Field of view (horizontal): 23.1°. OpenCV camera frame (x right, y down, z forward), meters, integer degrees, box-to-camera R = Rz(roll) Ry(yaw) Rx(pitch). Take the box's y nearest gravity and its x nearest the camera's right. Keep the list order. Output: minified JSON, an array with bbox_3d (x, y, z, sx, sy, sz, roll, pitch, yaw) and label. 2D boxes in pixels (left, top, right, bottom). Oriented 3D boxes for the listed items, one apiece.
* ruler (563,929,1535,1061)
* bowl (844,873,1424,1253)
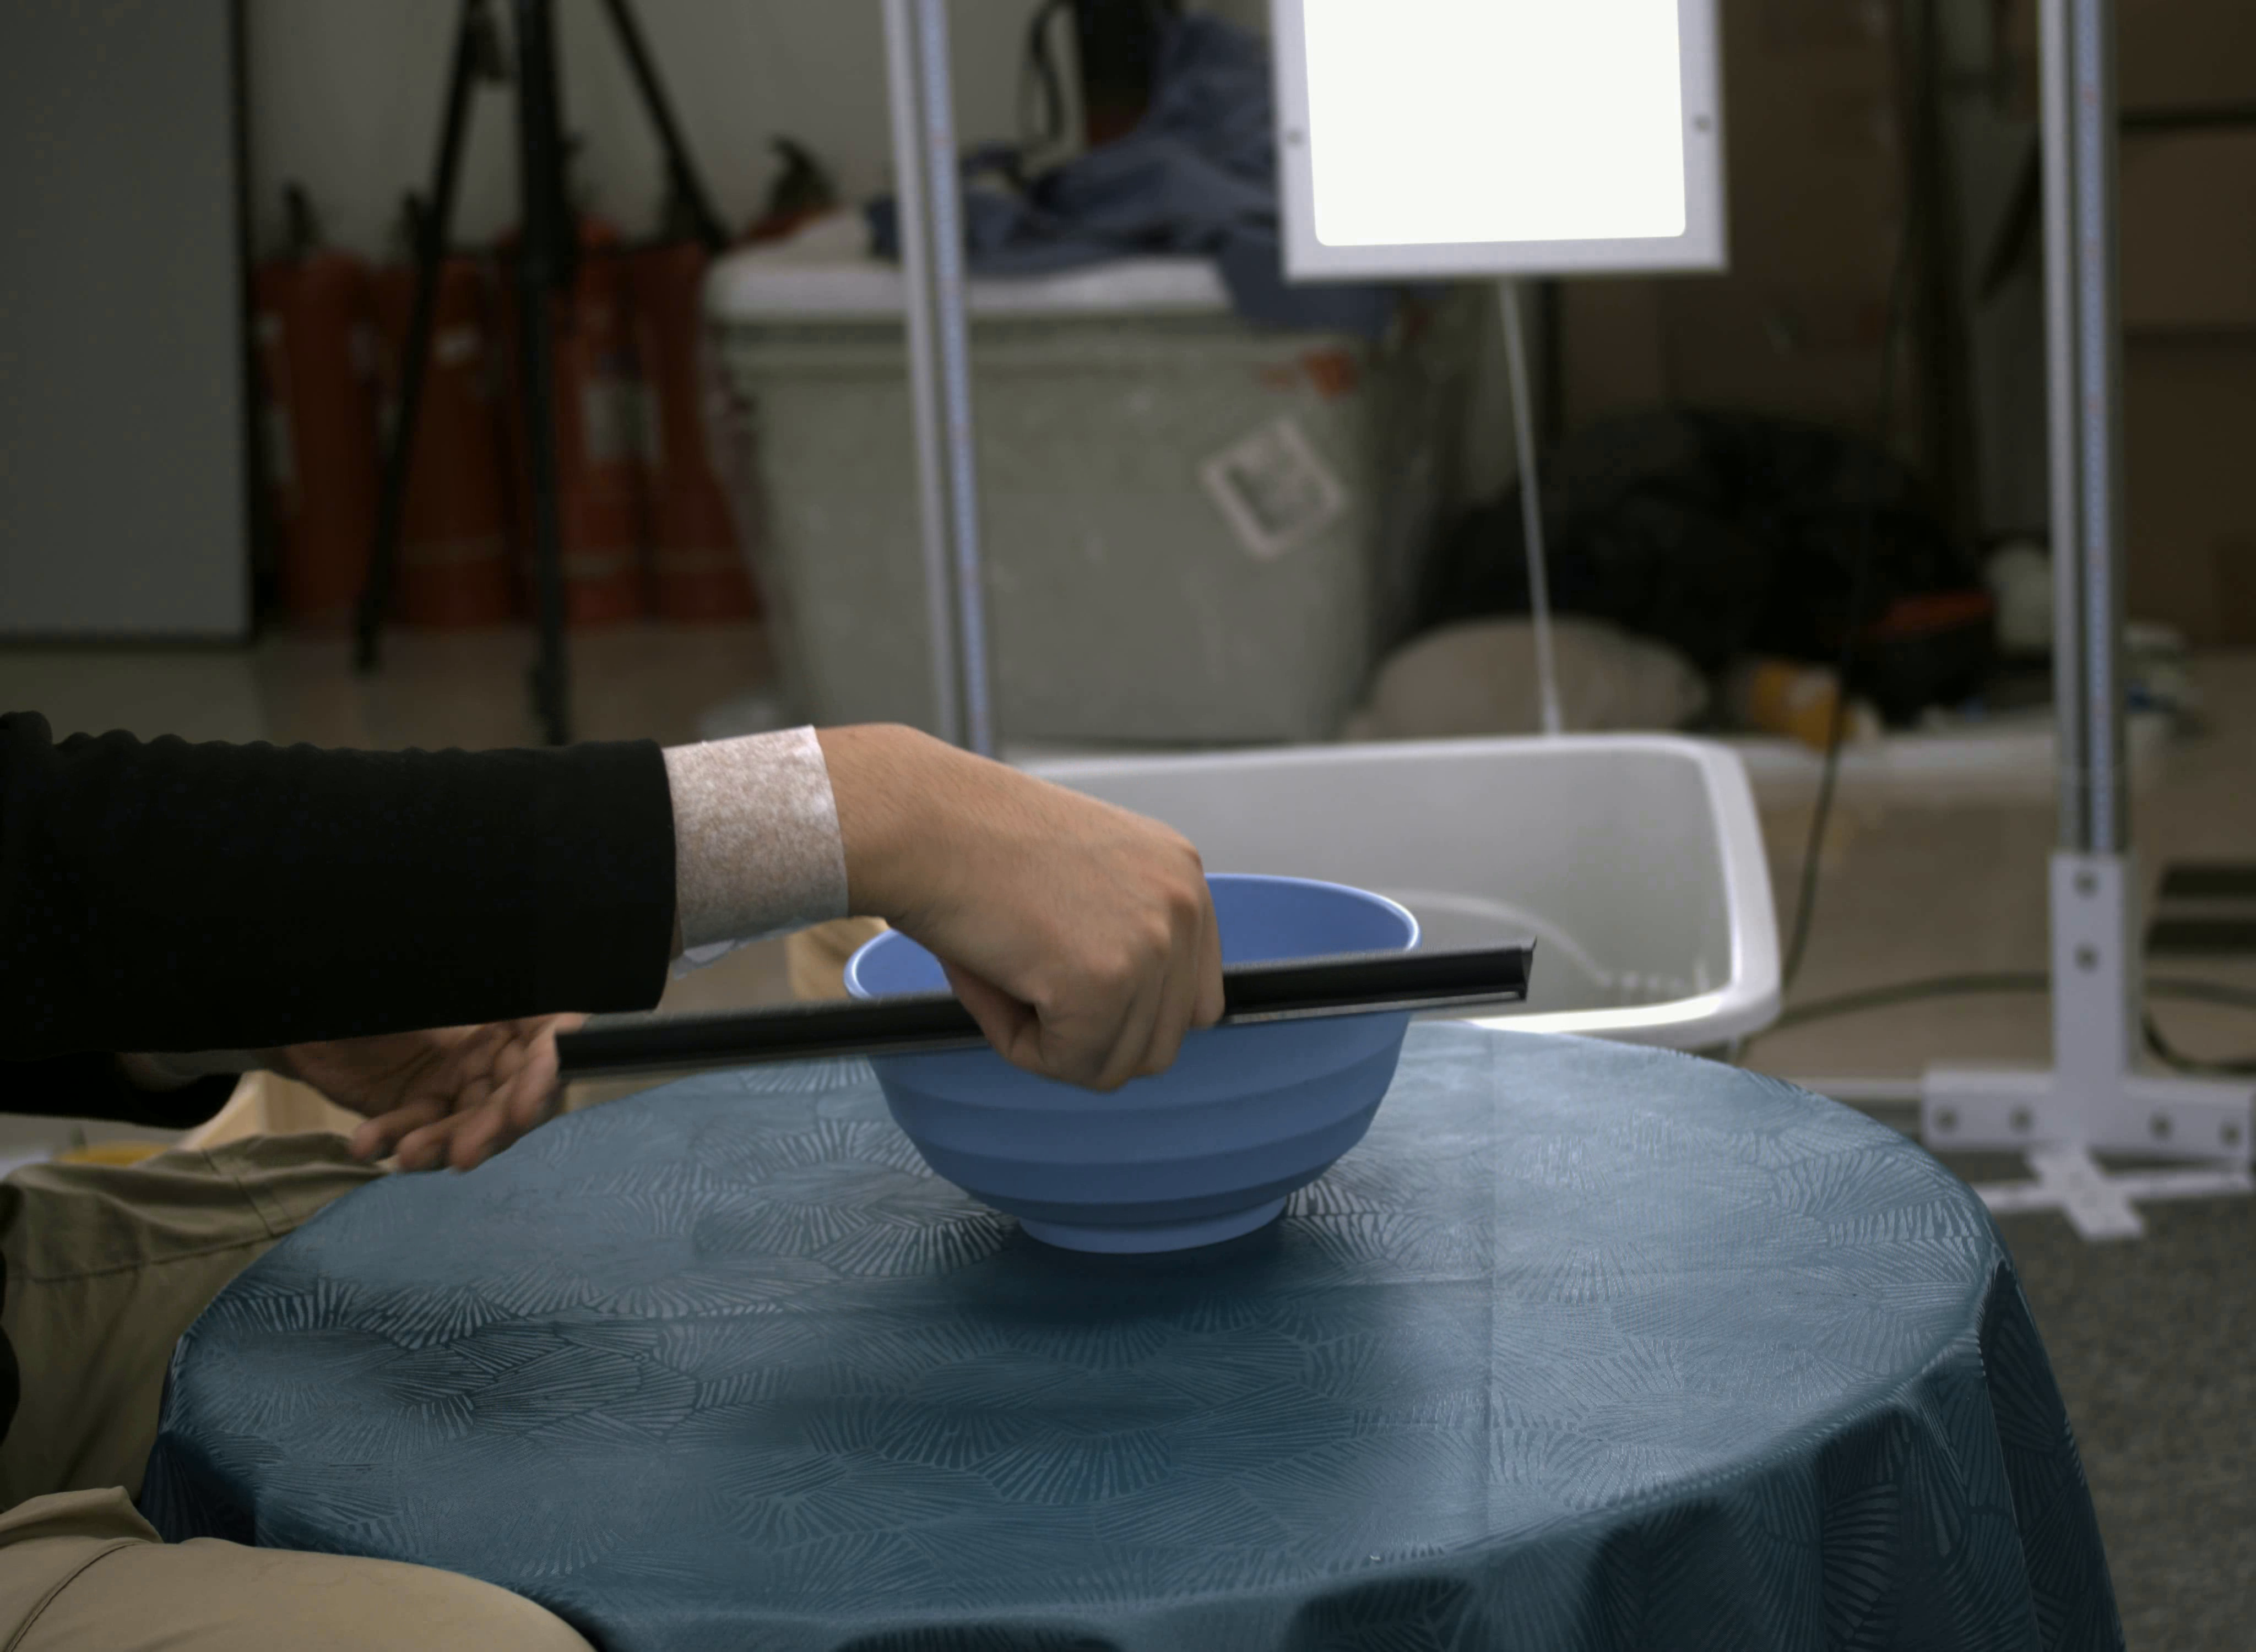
[{"bbox_3d":[-0.027,0.047,1.723,0.316,0.017,0.039,-5,24,17],"label":"ruler"},{"bbox_3d":[0.005,0.086,1.862,0.196,0.096,0.196,-4,13,0],"label":"bowl"}]
